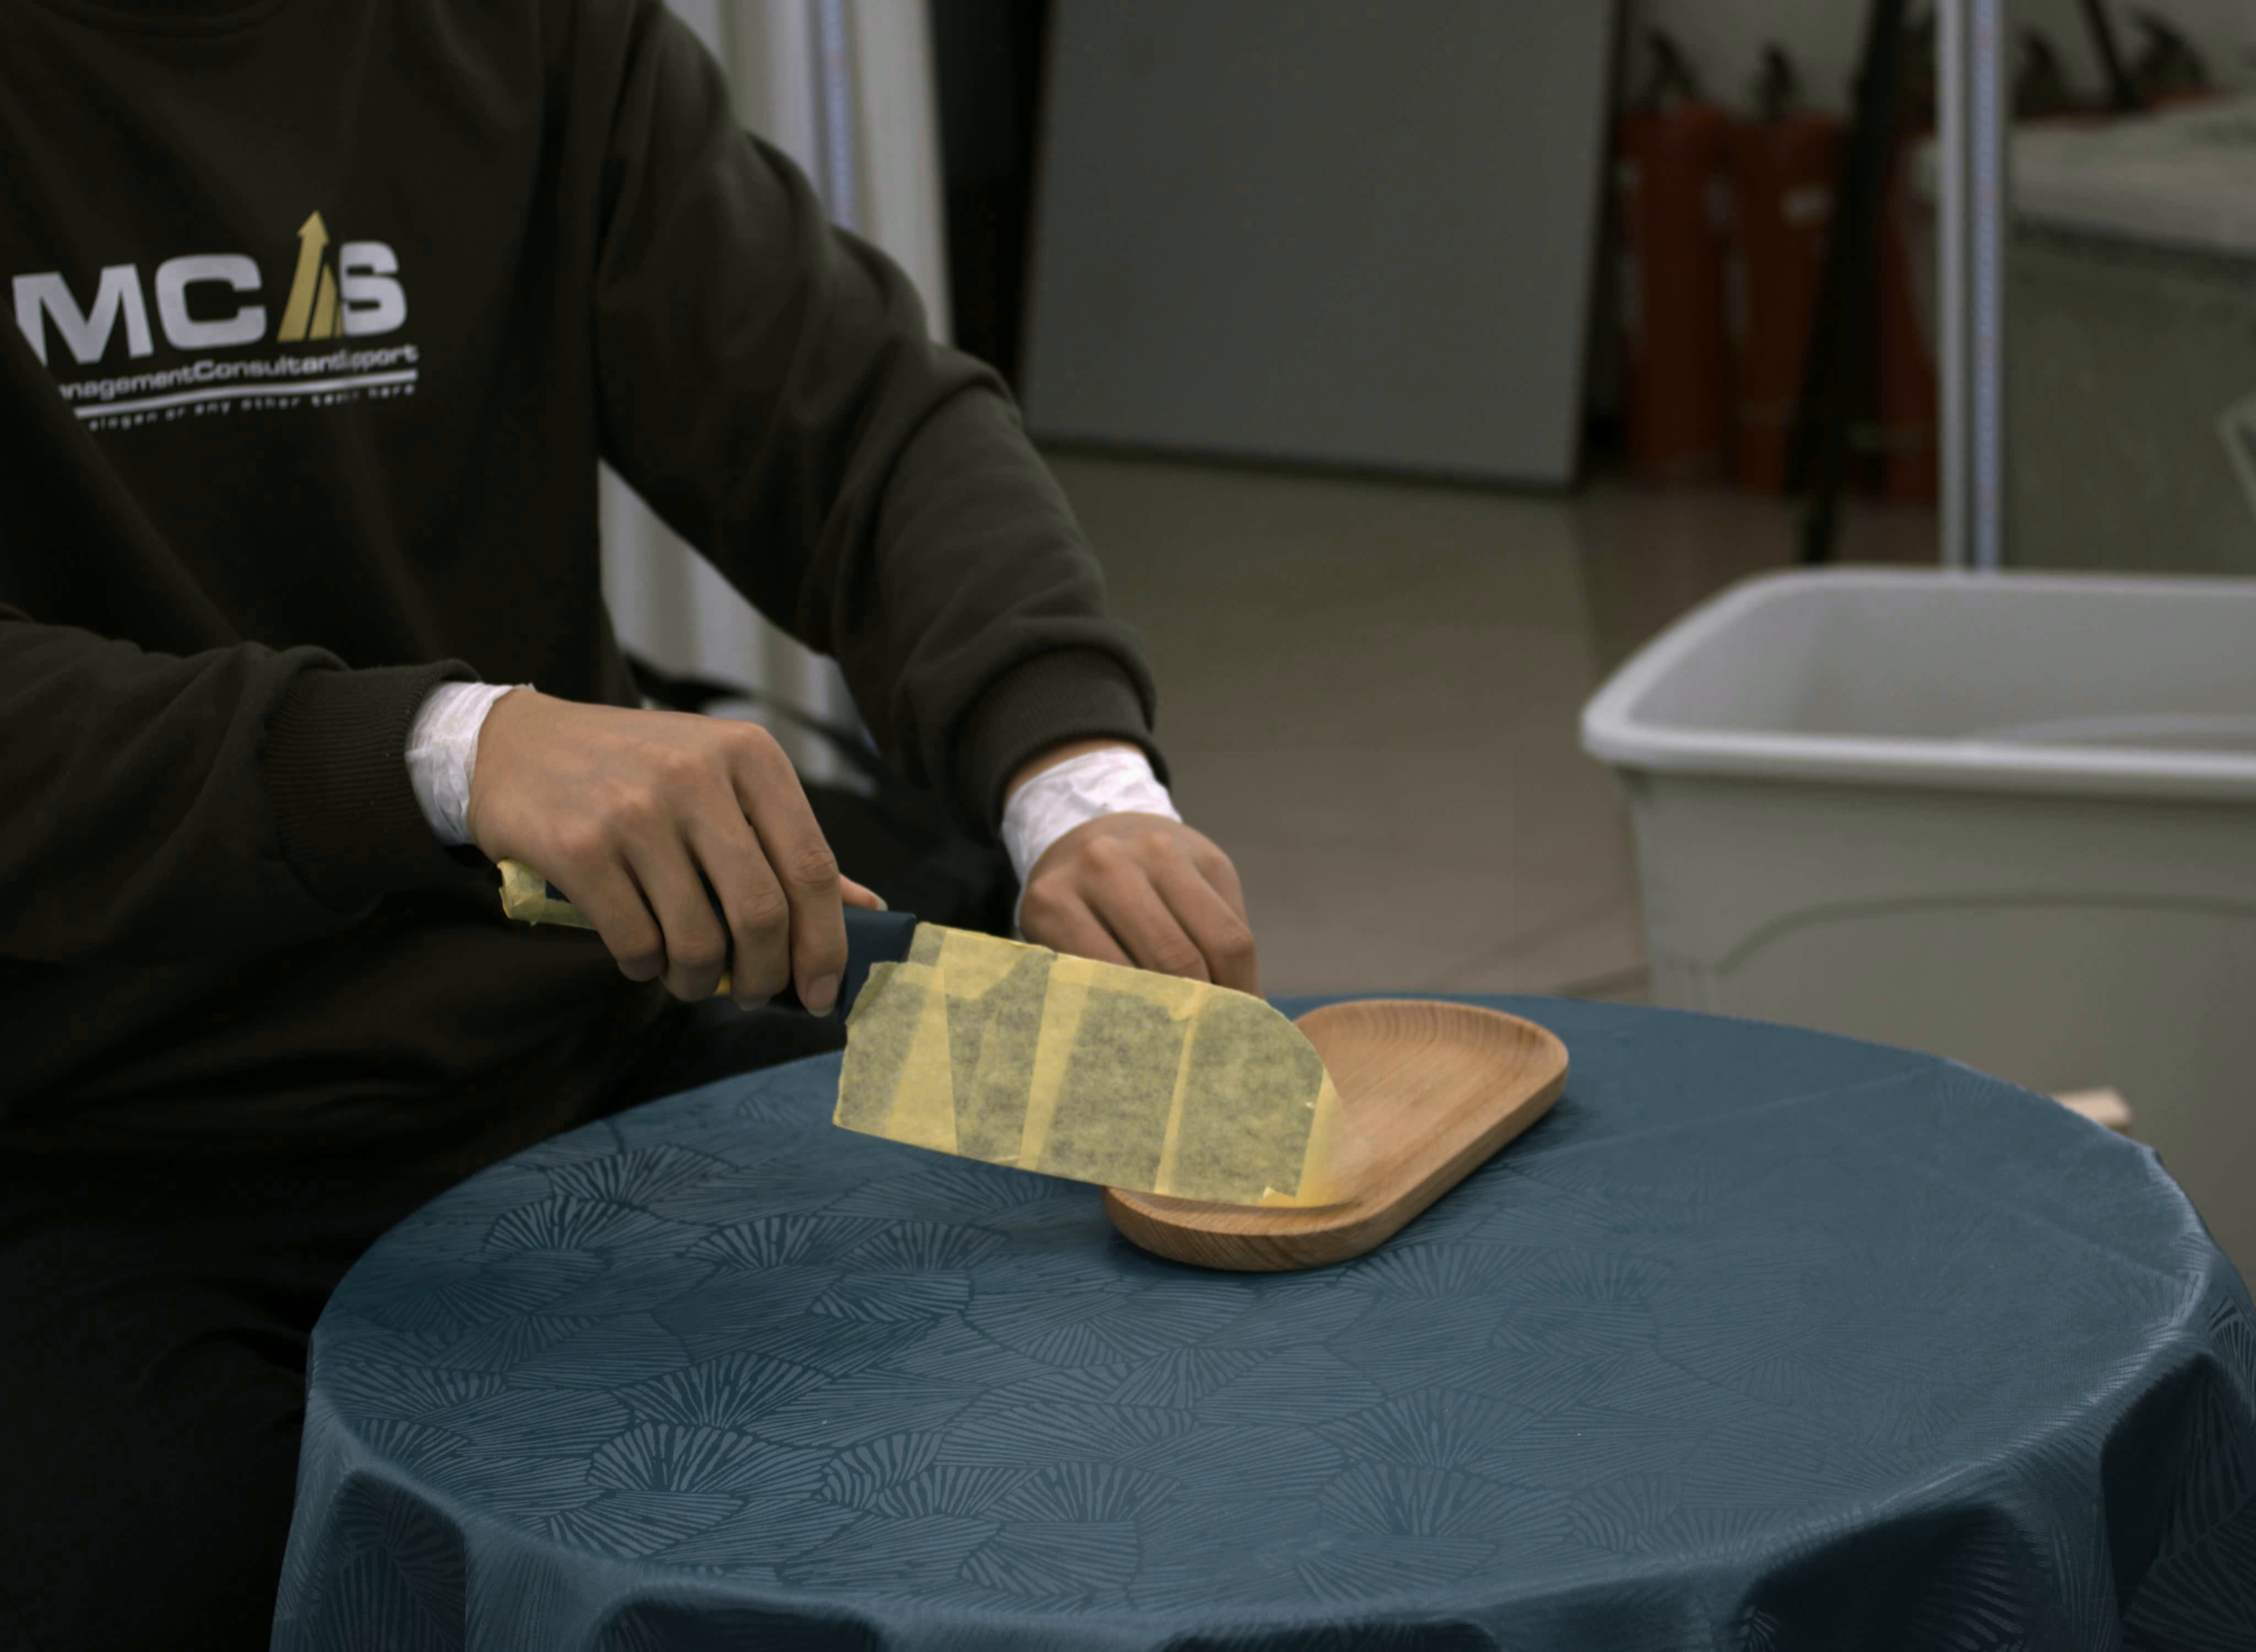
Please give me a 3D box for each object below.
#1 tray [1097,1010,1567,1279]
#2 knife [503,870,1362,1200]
[{"bbox_3d":[0.070,0.103,1.775,0.102,0.020,0.228,8,20,26],"label":"tray"},{"bbox_3d":[-0.063,0.066,1.719,0.286,0.082,0.027,14,-19,1],"label":"knife"}]
